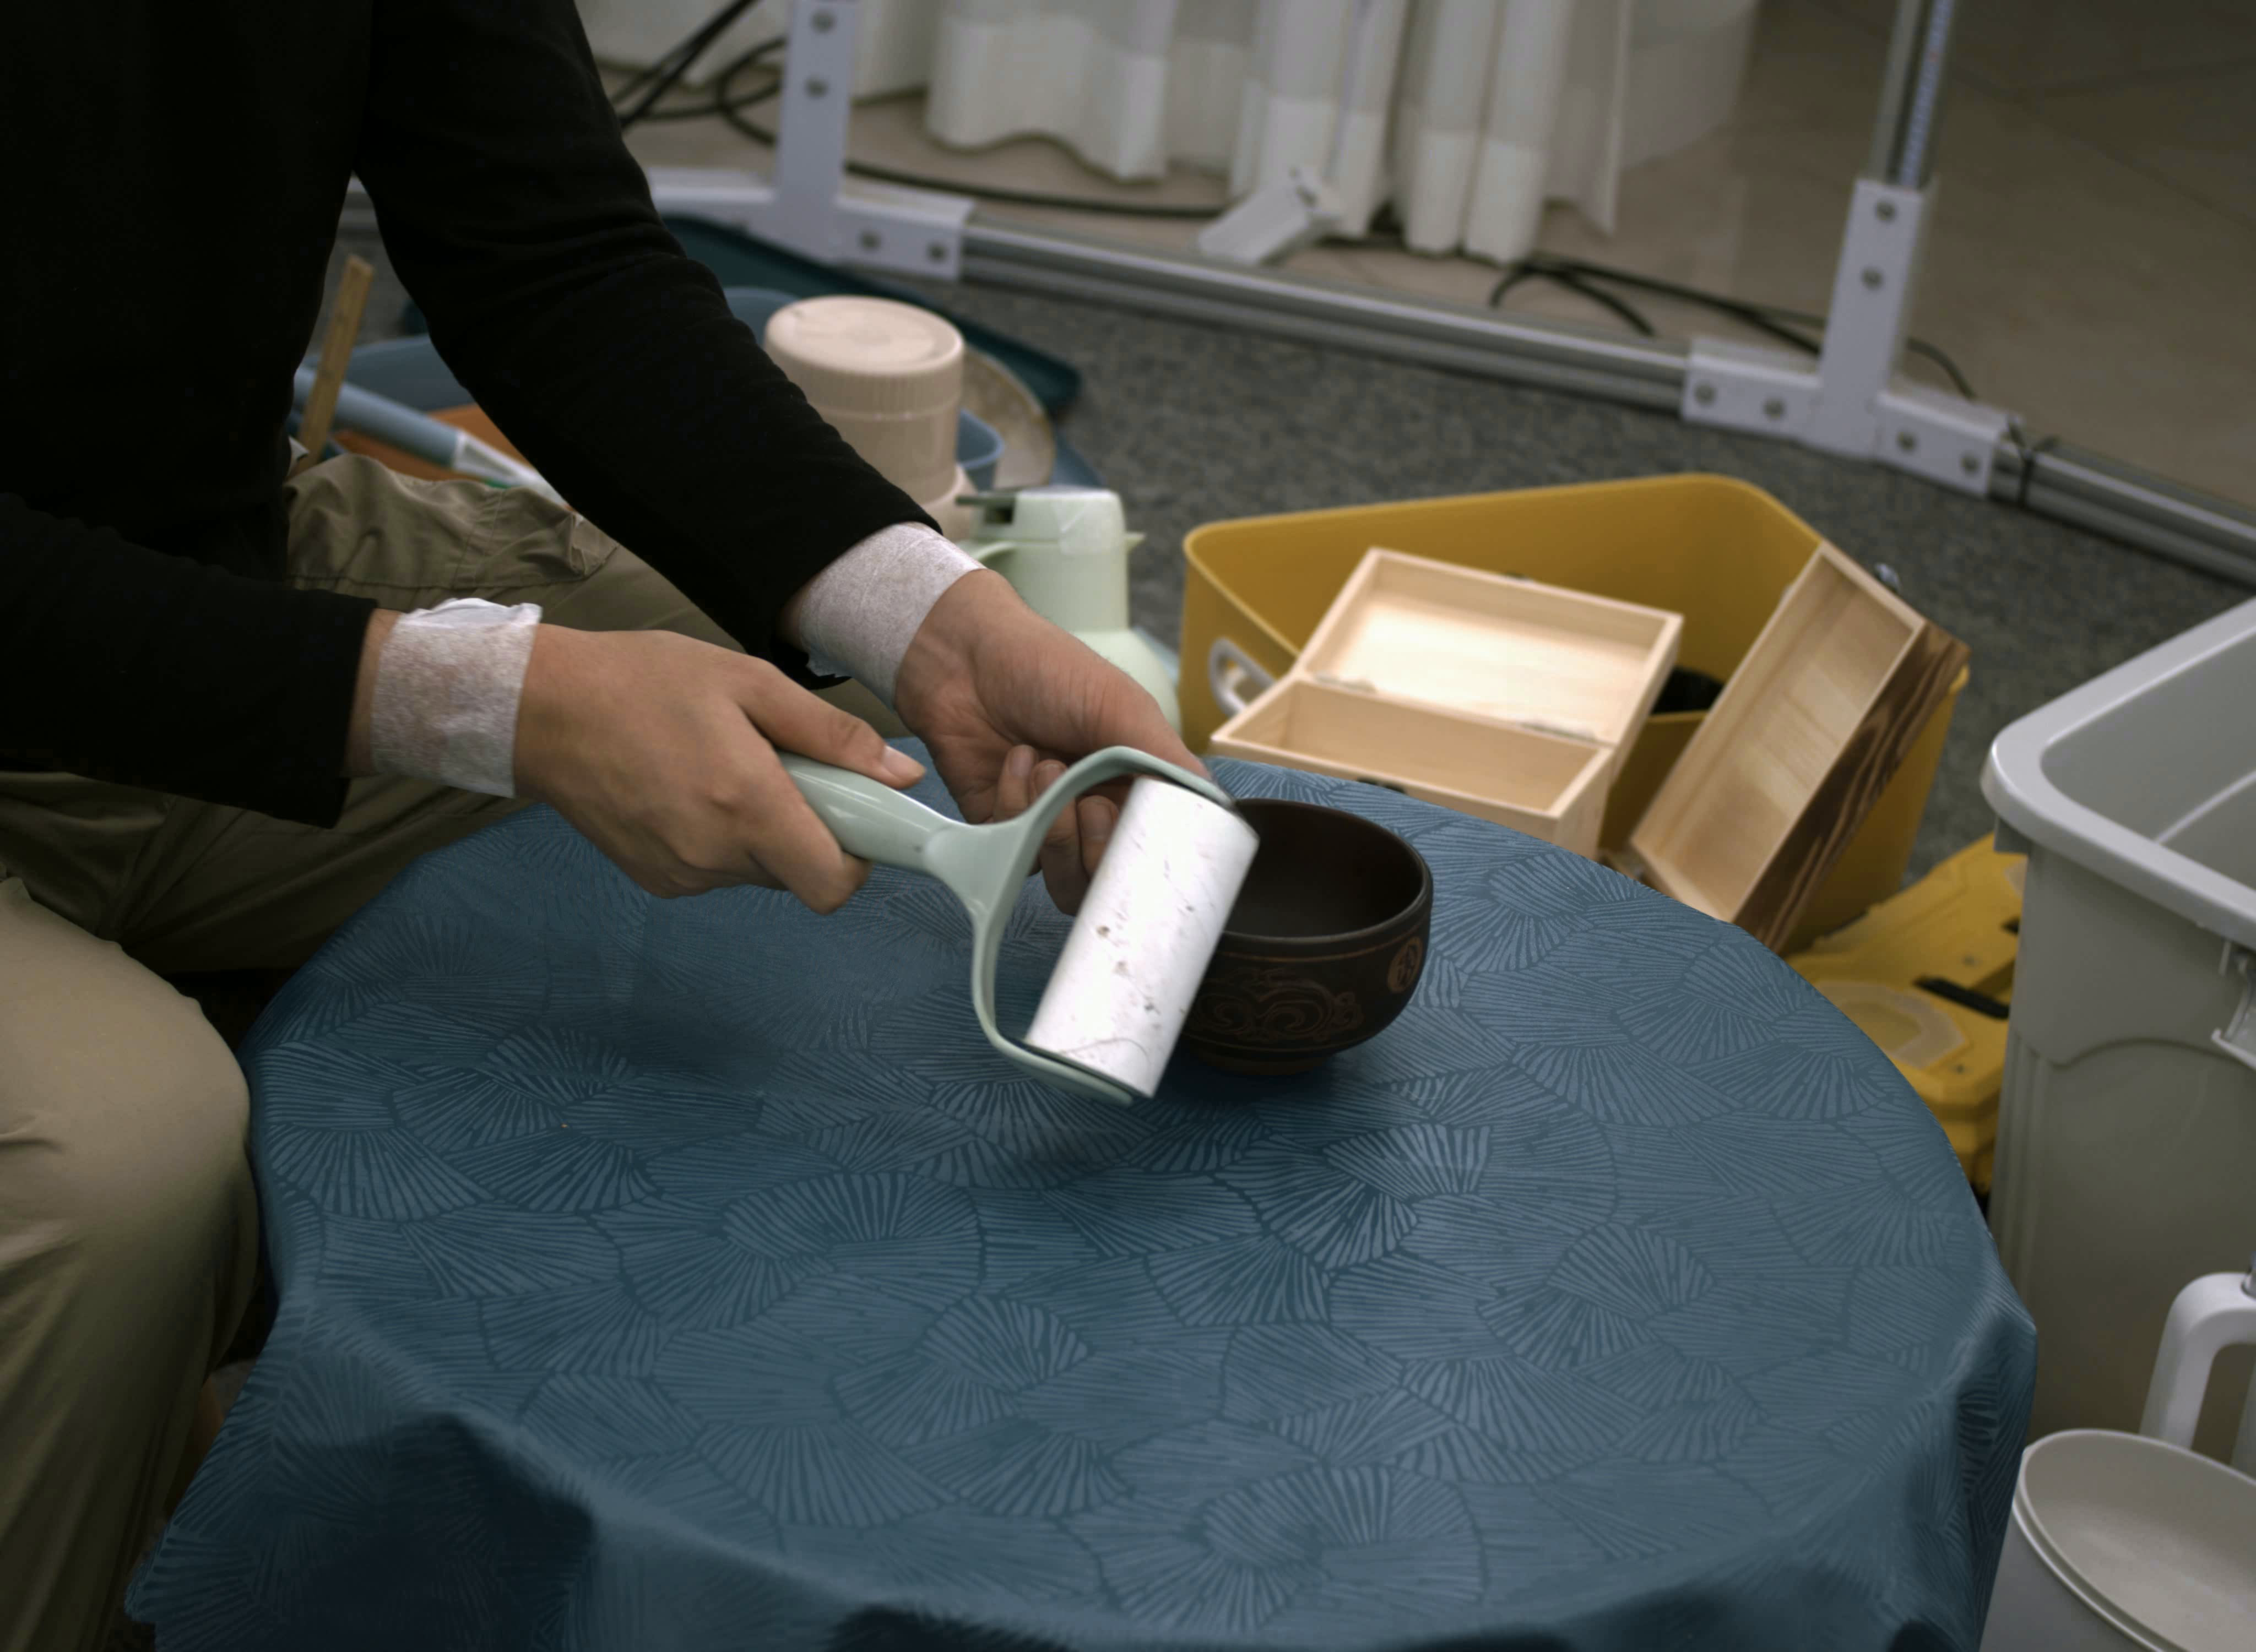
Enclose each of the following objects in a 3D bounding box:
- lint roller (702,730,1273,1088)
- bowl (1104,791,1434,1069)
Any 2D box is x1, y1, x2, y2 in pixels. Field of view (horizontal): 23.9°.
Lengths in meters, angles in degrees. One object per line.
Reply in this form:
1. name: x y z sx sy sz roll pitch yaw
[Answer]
1. lint roller: -0.057 0.004 1.821 0.198 0.117 0.048 22 -5 11
2. bowl: 0.049 0.043 1.889 0.117 0.069 0.119 2 26 -1
